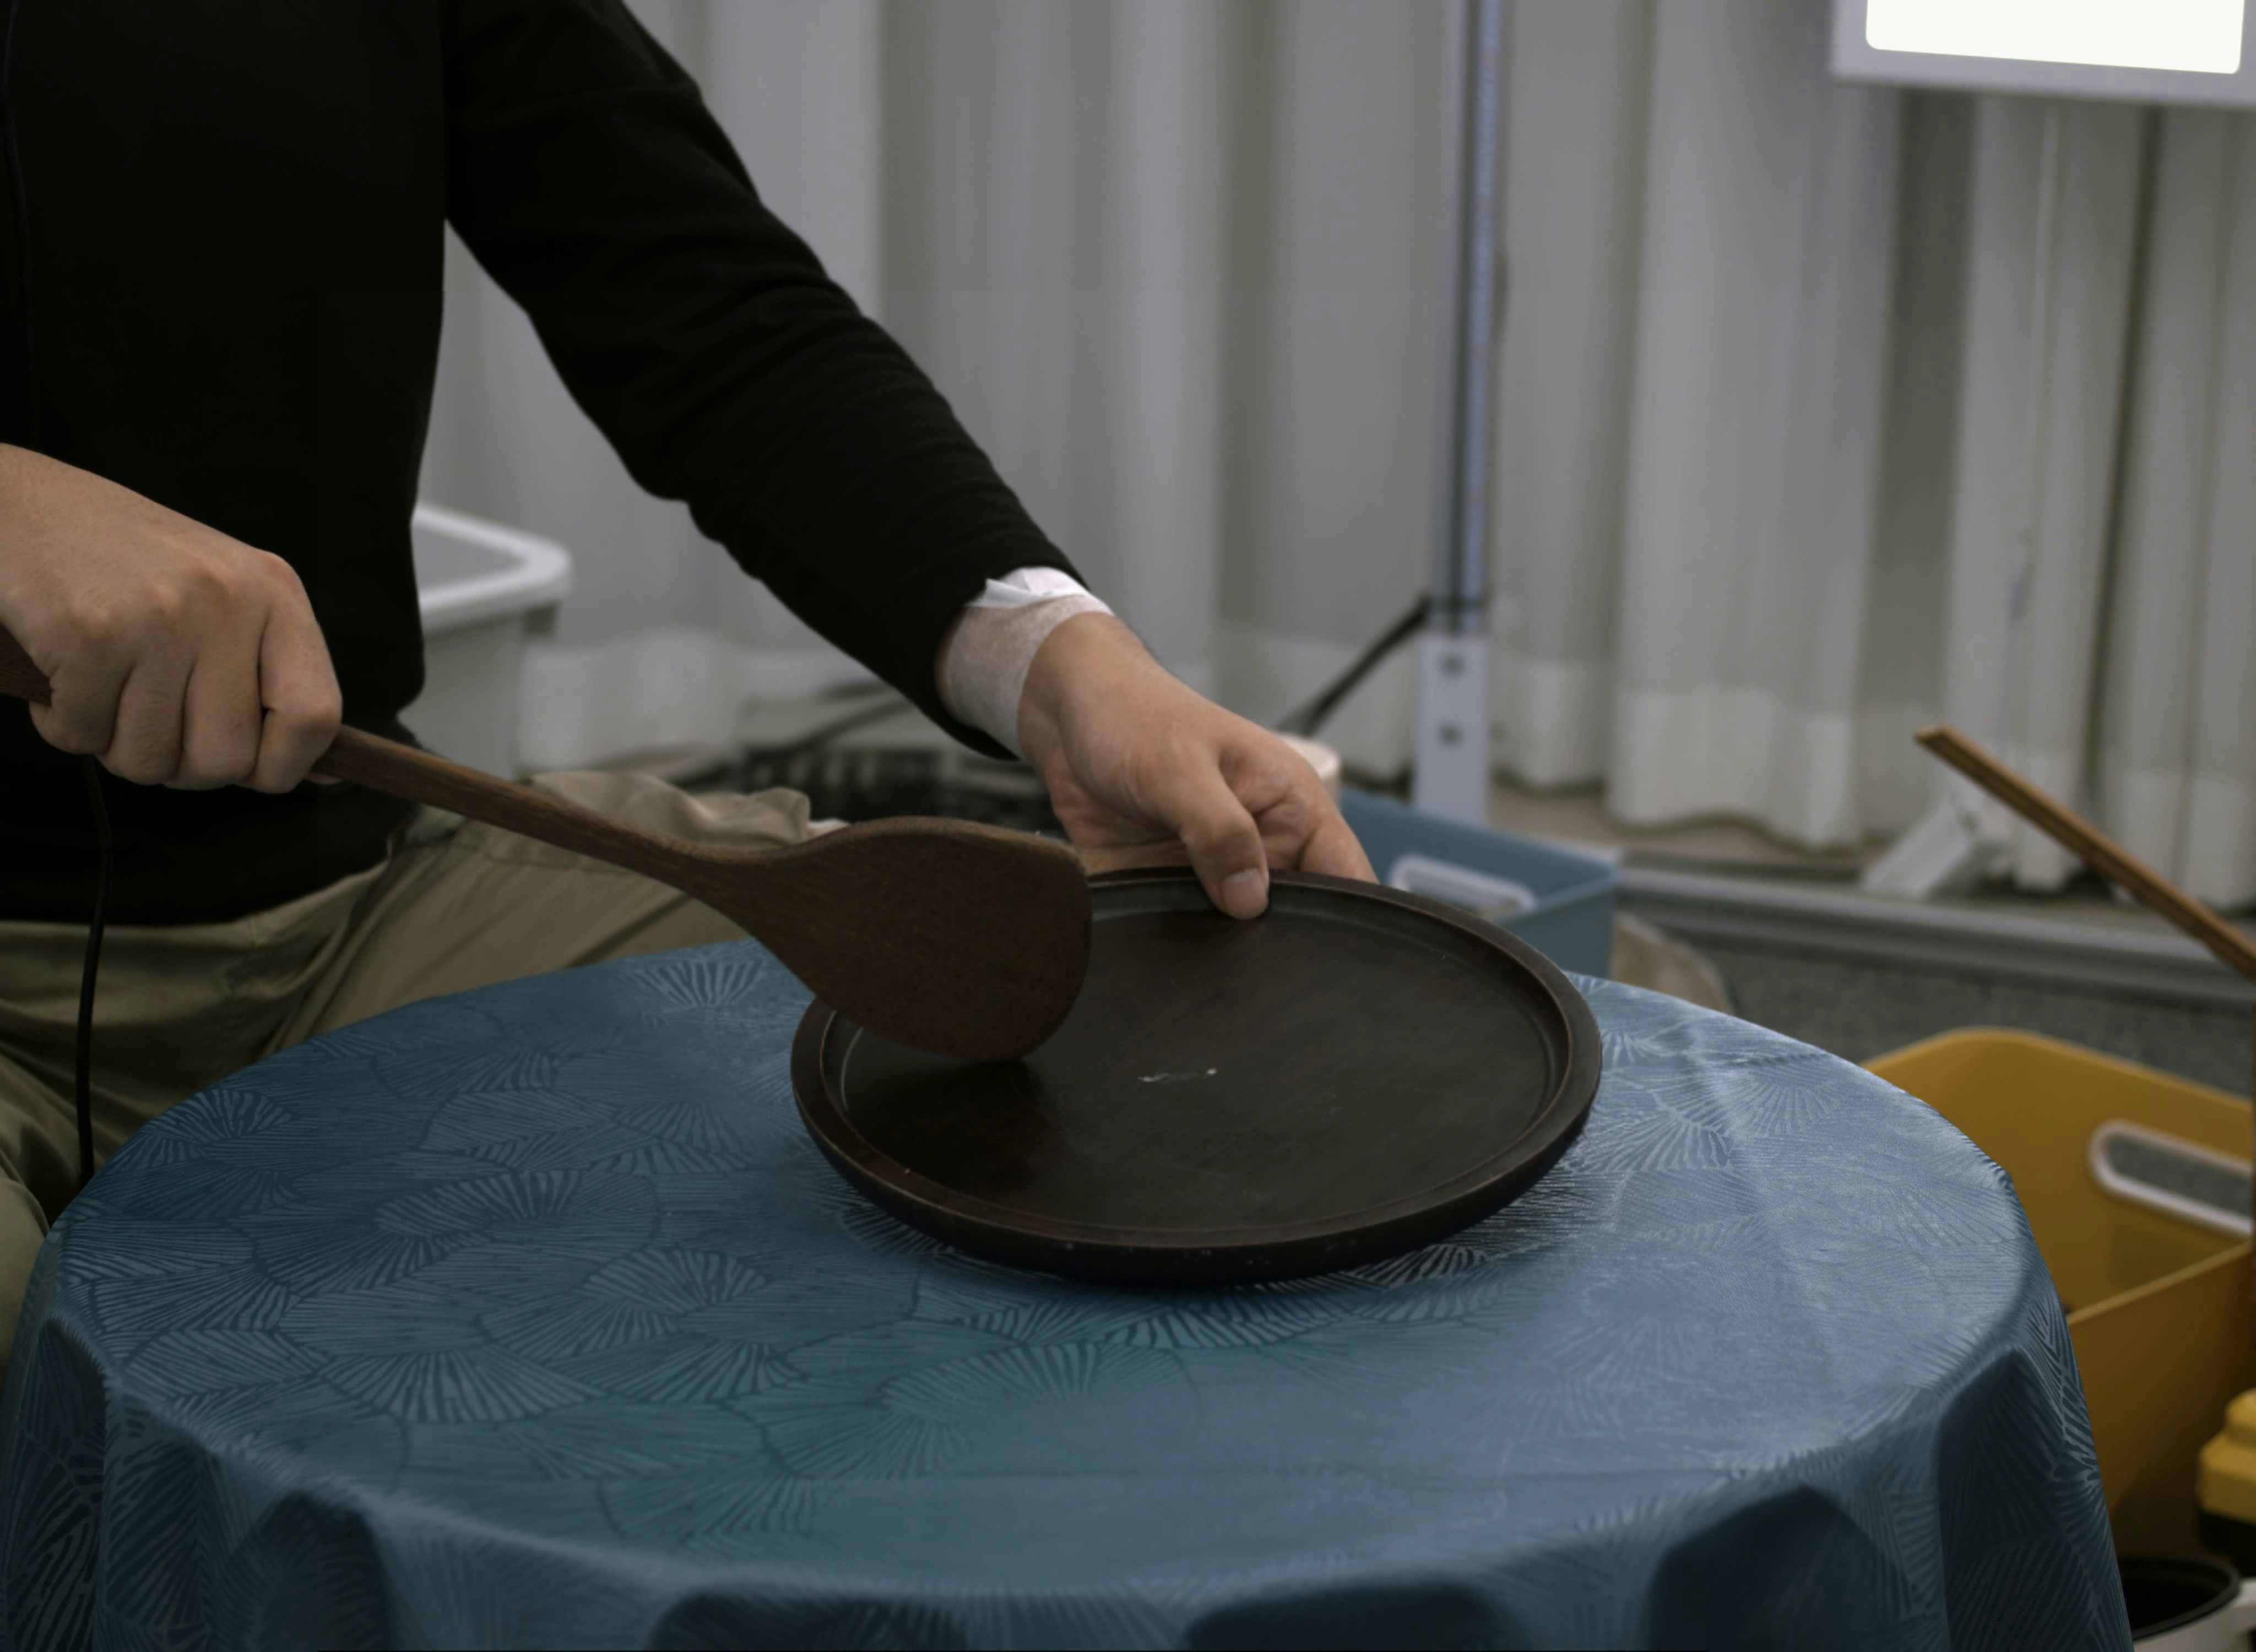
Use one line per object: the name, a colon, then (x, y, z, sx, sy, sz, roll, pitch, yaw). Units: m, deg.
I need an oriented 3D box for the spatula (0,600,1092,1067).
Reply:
spatula: (-0.197, -0.010, 1.608, 0.385, 0.097, 0.015, 17, 40, 1)

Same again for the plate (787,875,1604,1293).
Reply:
plate: (0.021, 0.077, 1.636, 0.254, 0.029, 0.253, 1, 27, 0)
